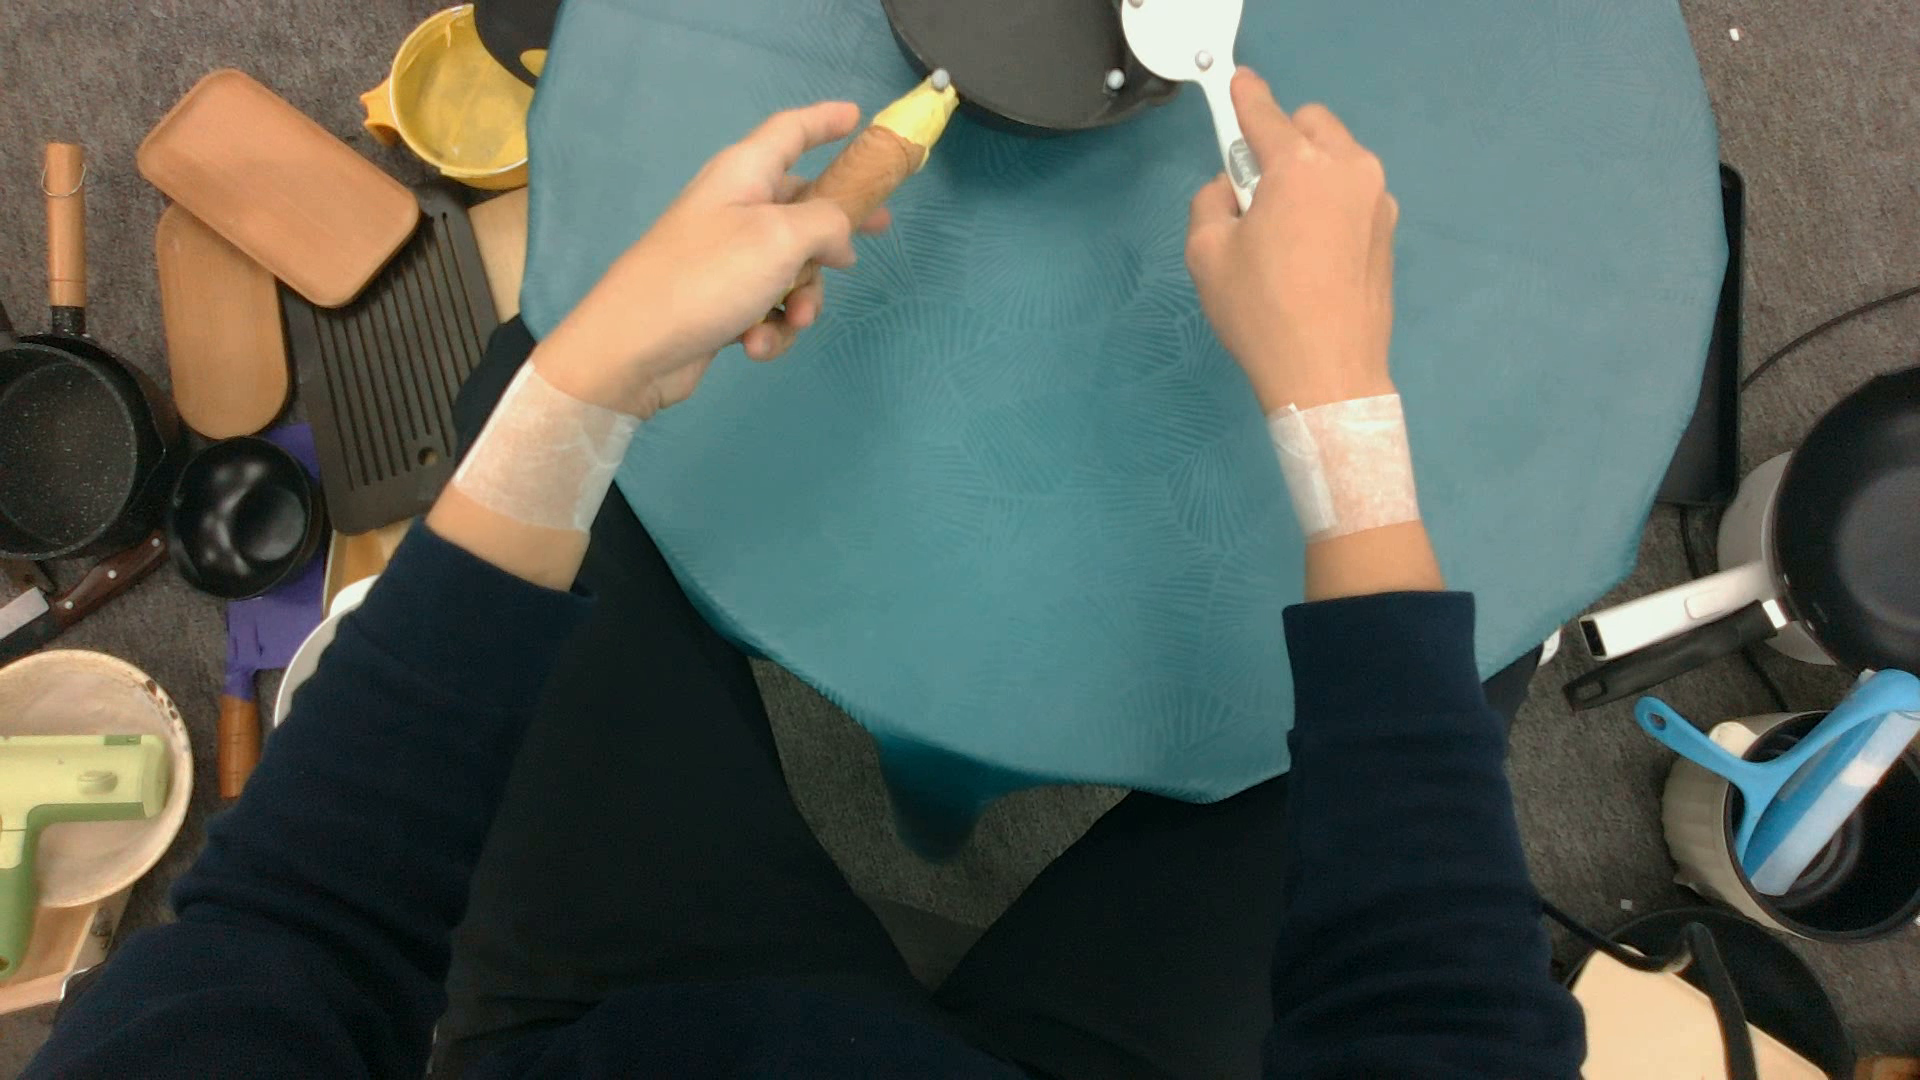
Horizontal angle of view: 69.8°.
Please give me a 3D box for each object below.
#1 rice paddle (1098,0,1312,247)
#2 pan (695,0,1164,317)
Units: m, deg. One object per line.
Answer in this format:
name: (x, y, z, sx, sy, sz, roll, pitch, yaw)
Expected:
rice paddle: (0.106, -0.217, 0.624, 0.029, 0.068, 0.206, 13, 49, -40)
pan: (-0.021, -0.204, 0.612, 0.169, 0.049, 0.325, 38, 61, -3)
